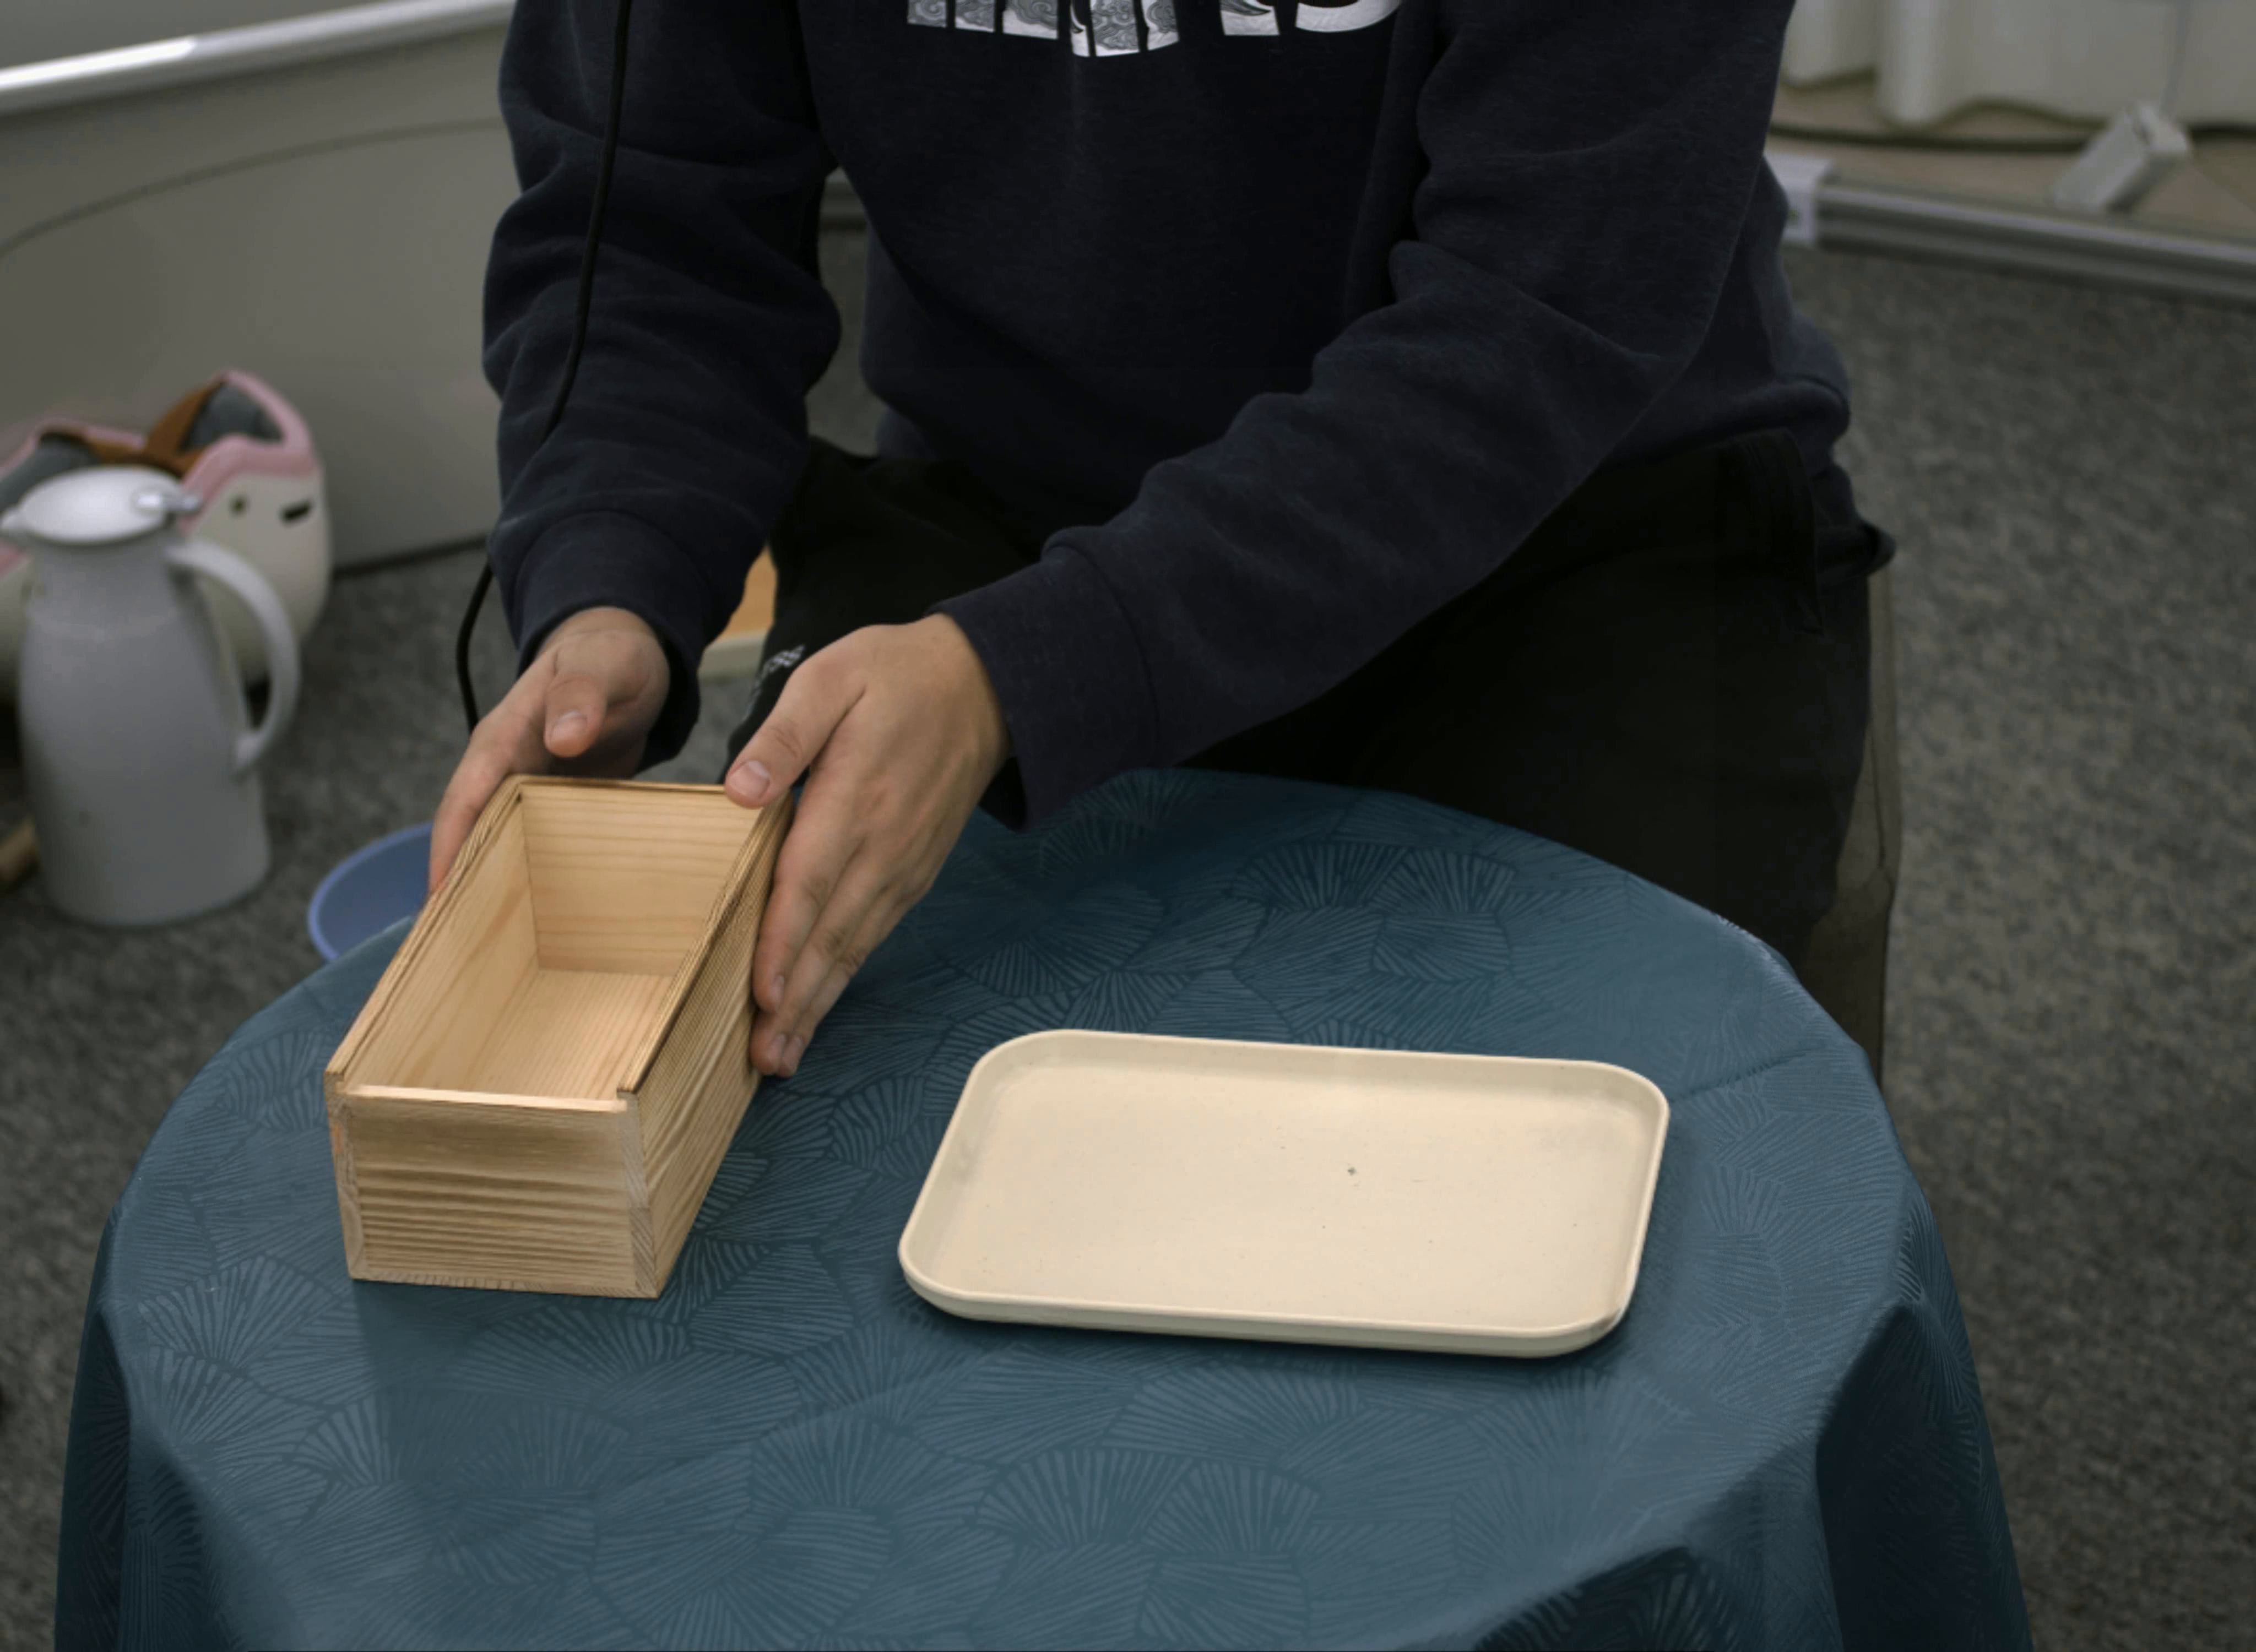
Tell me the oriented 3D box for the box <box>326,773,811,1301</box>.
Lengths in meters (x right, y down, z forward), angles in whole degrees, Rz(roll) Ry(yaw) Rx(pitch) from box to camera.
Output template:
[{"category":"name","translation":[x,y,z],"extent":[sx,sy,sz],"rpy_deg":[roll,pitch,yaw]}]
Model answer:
[{"category":"box","translation":[-0.185,0.068,1.899],"extent":[0.107,0.079,0.215],"rpy_deg":[3,28,10]}]

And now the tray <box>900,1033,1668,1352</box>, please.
[{"category":"tray","translation":[0.053,0.121,1.843],"extent":[0.238,0.017,0.174],"rpy_deg":[3,27,10]}]
